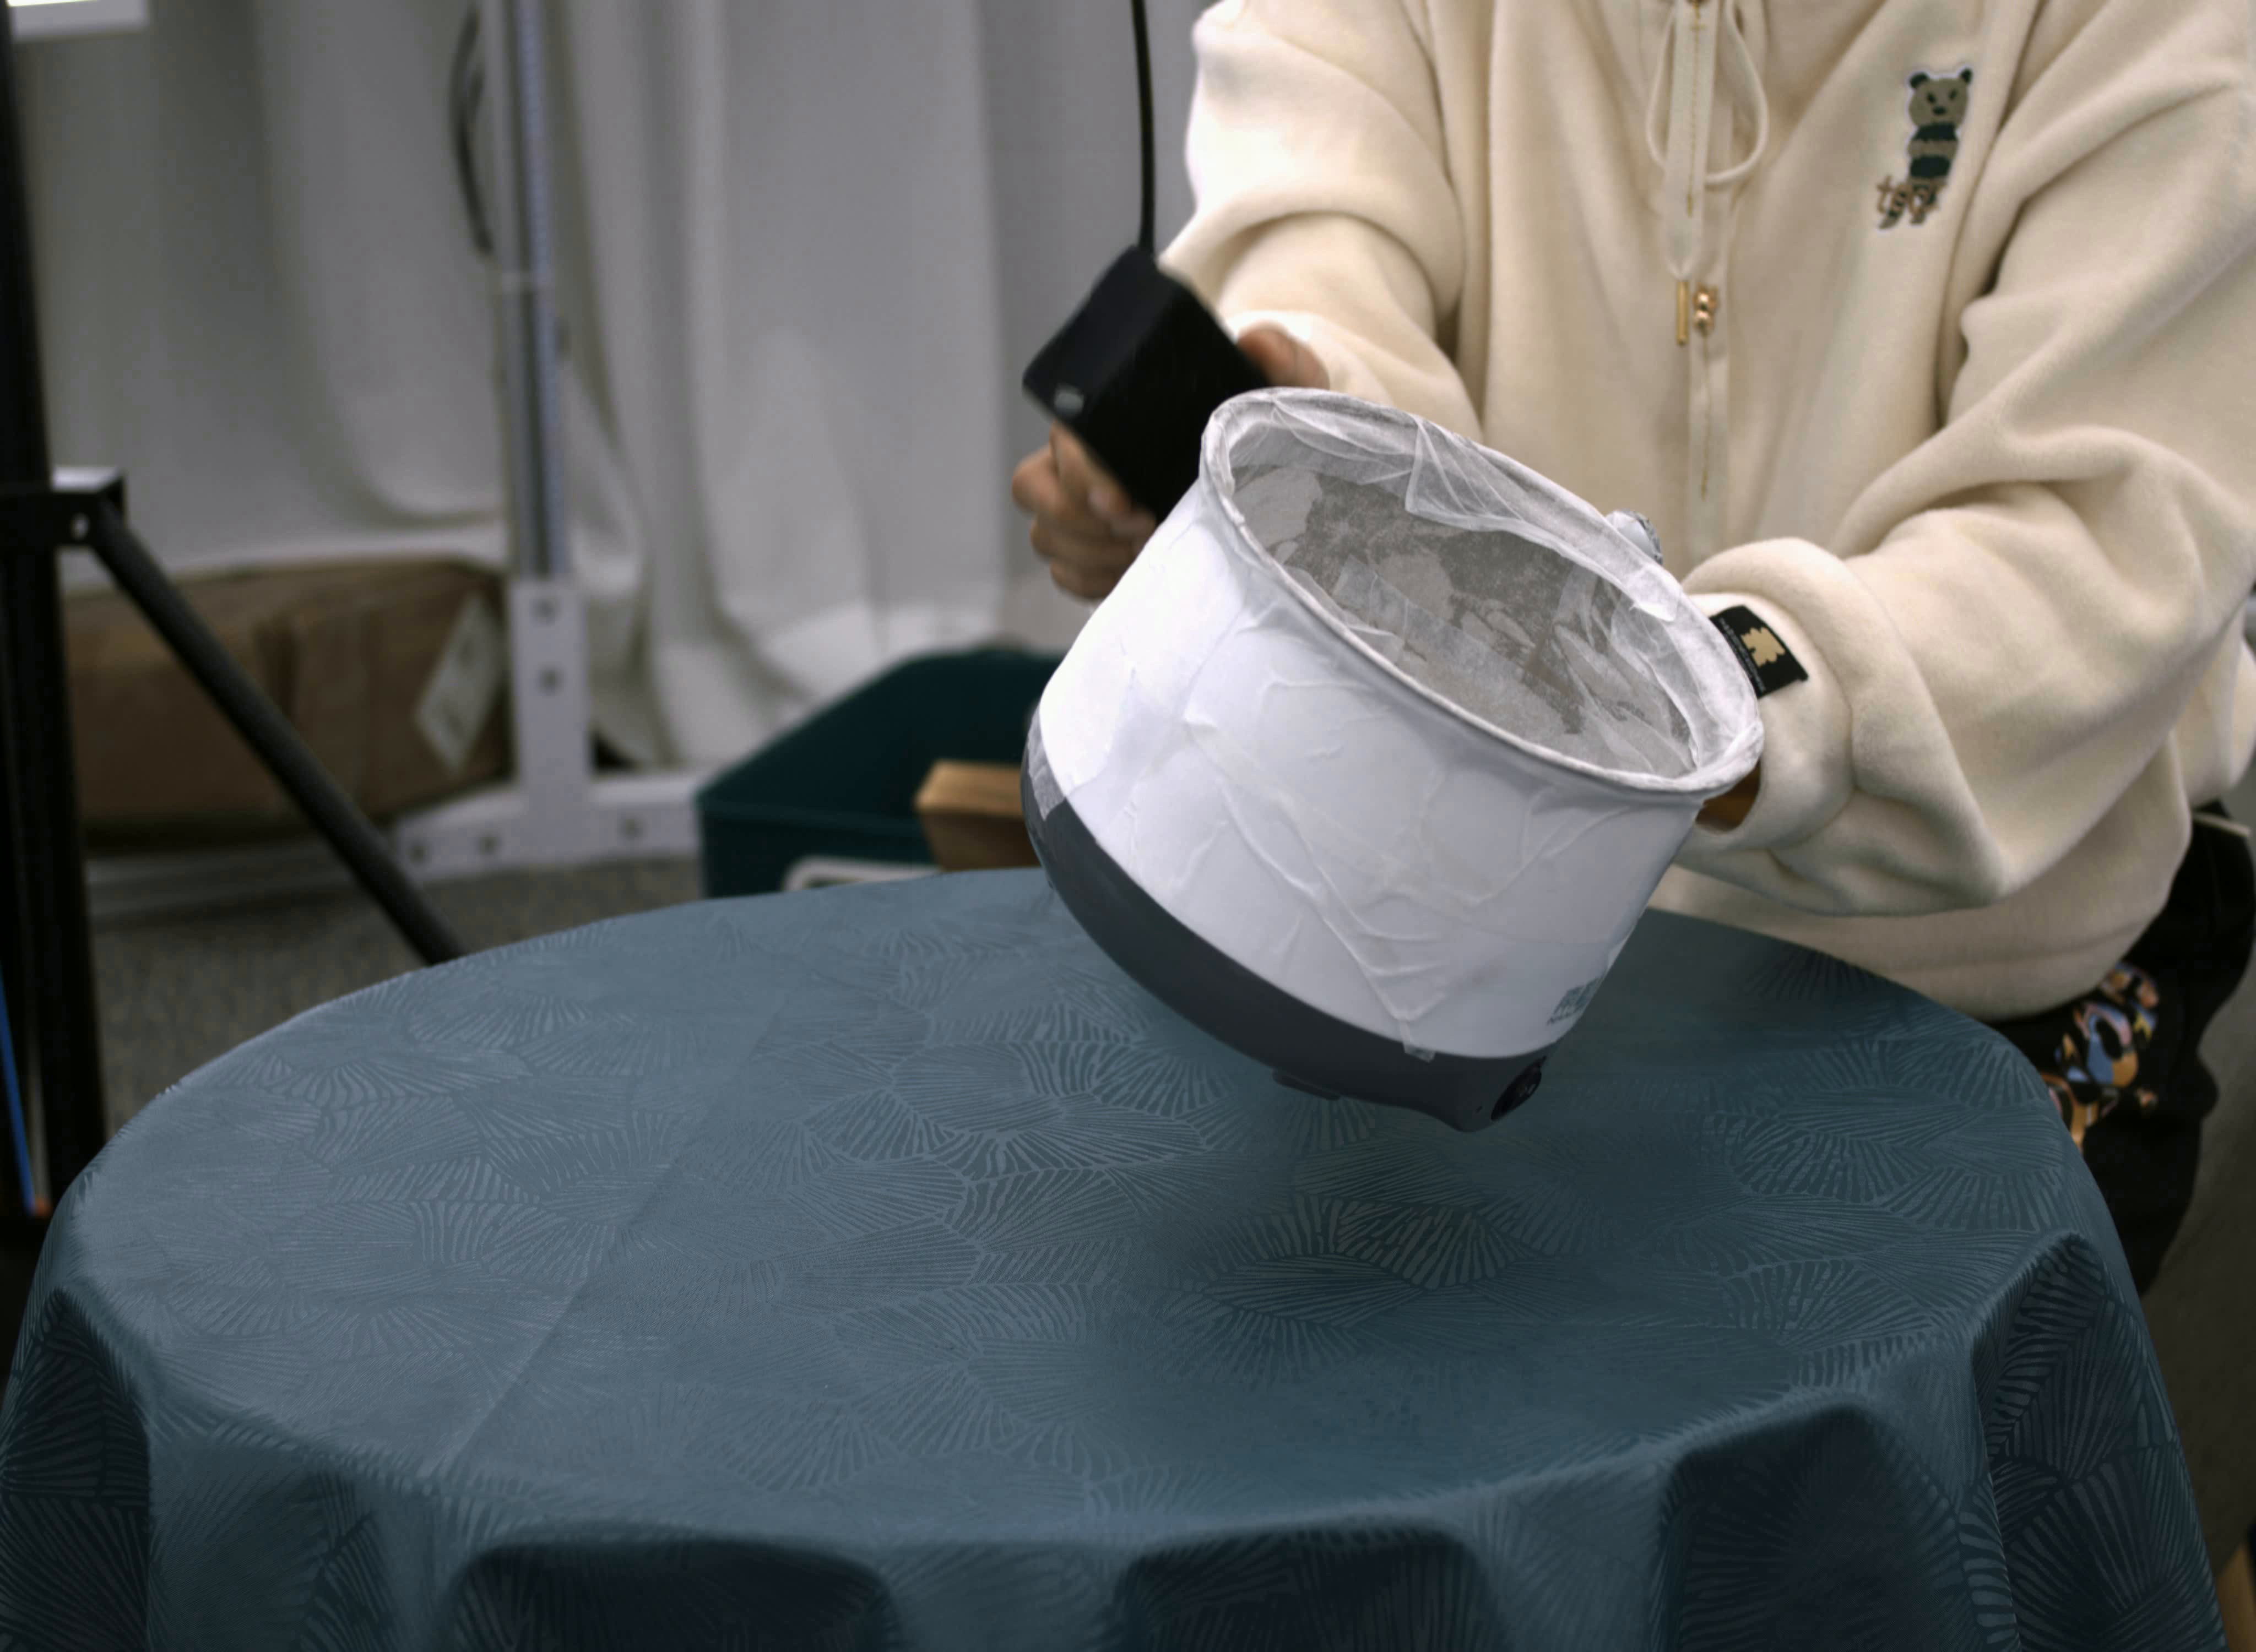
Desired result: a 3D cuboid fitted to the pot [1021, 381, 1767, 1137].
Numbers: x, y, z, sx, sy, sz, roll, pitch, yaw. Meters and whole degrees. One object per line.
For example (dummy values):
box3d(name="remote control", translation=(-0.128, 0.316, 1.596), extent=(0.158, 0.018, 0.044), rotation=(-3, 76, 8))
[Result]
box3d(name="pot", translation=(0.082, -0.024, 1.497), extent=(0.181, 0.137, 0.229), rotation=(40, 28, 16))

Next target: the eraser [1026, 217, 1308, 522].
box3d(name="eraser", translation=(0.013, -0.129, 1.524), extent=(0.031, 0.053, 0.123), rotation=(39, -1, 22))
